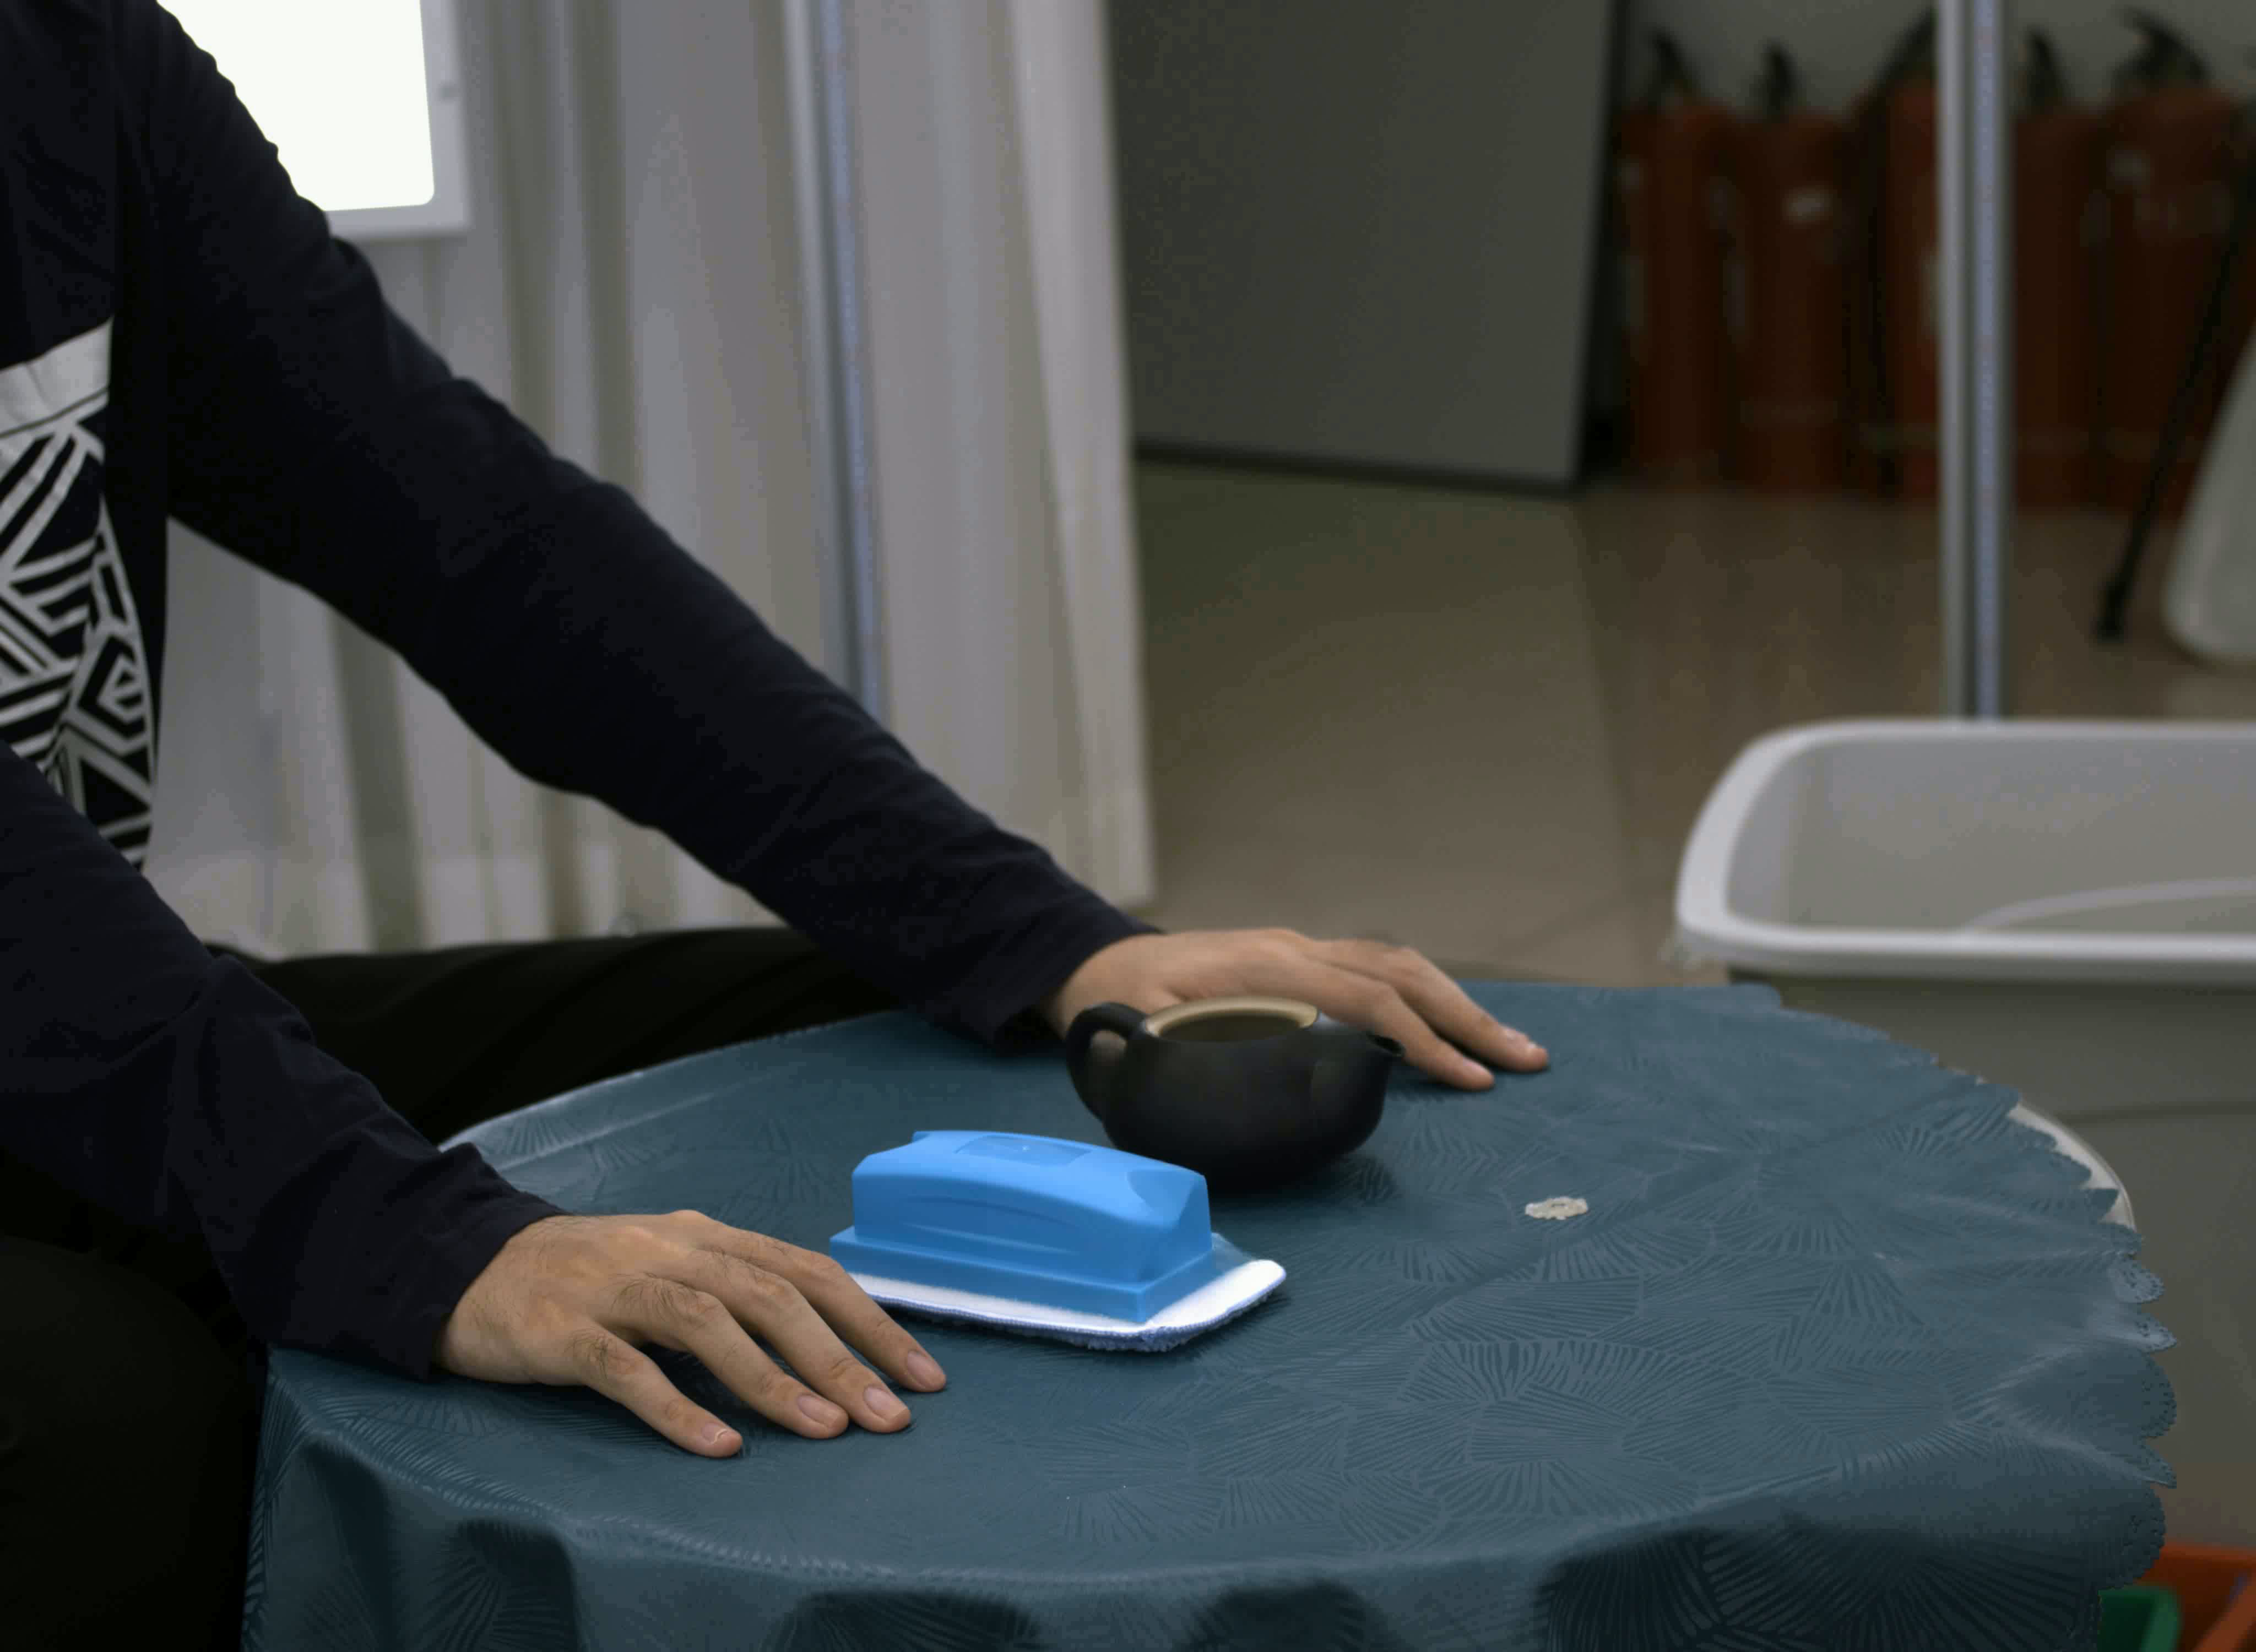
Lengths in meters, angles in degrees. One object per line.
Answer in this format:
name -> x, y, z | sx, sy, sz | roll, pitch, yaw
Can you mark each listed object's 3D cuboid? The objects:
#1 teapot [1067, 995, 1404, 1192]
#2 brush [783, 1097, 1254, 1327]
teapot -> 0.035, 0.088, 1.782 | 0.134, 0.053, 0.089 | 7, 16, 35
brush -> -0.033, 0.118, 1.669 | 0.145, 0.056, 0.082 | 10, 16, 37
